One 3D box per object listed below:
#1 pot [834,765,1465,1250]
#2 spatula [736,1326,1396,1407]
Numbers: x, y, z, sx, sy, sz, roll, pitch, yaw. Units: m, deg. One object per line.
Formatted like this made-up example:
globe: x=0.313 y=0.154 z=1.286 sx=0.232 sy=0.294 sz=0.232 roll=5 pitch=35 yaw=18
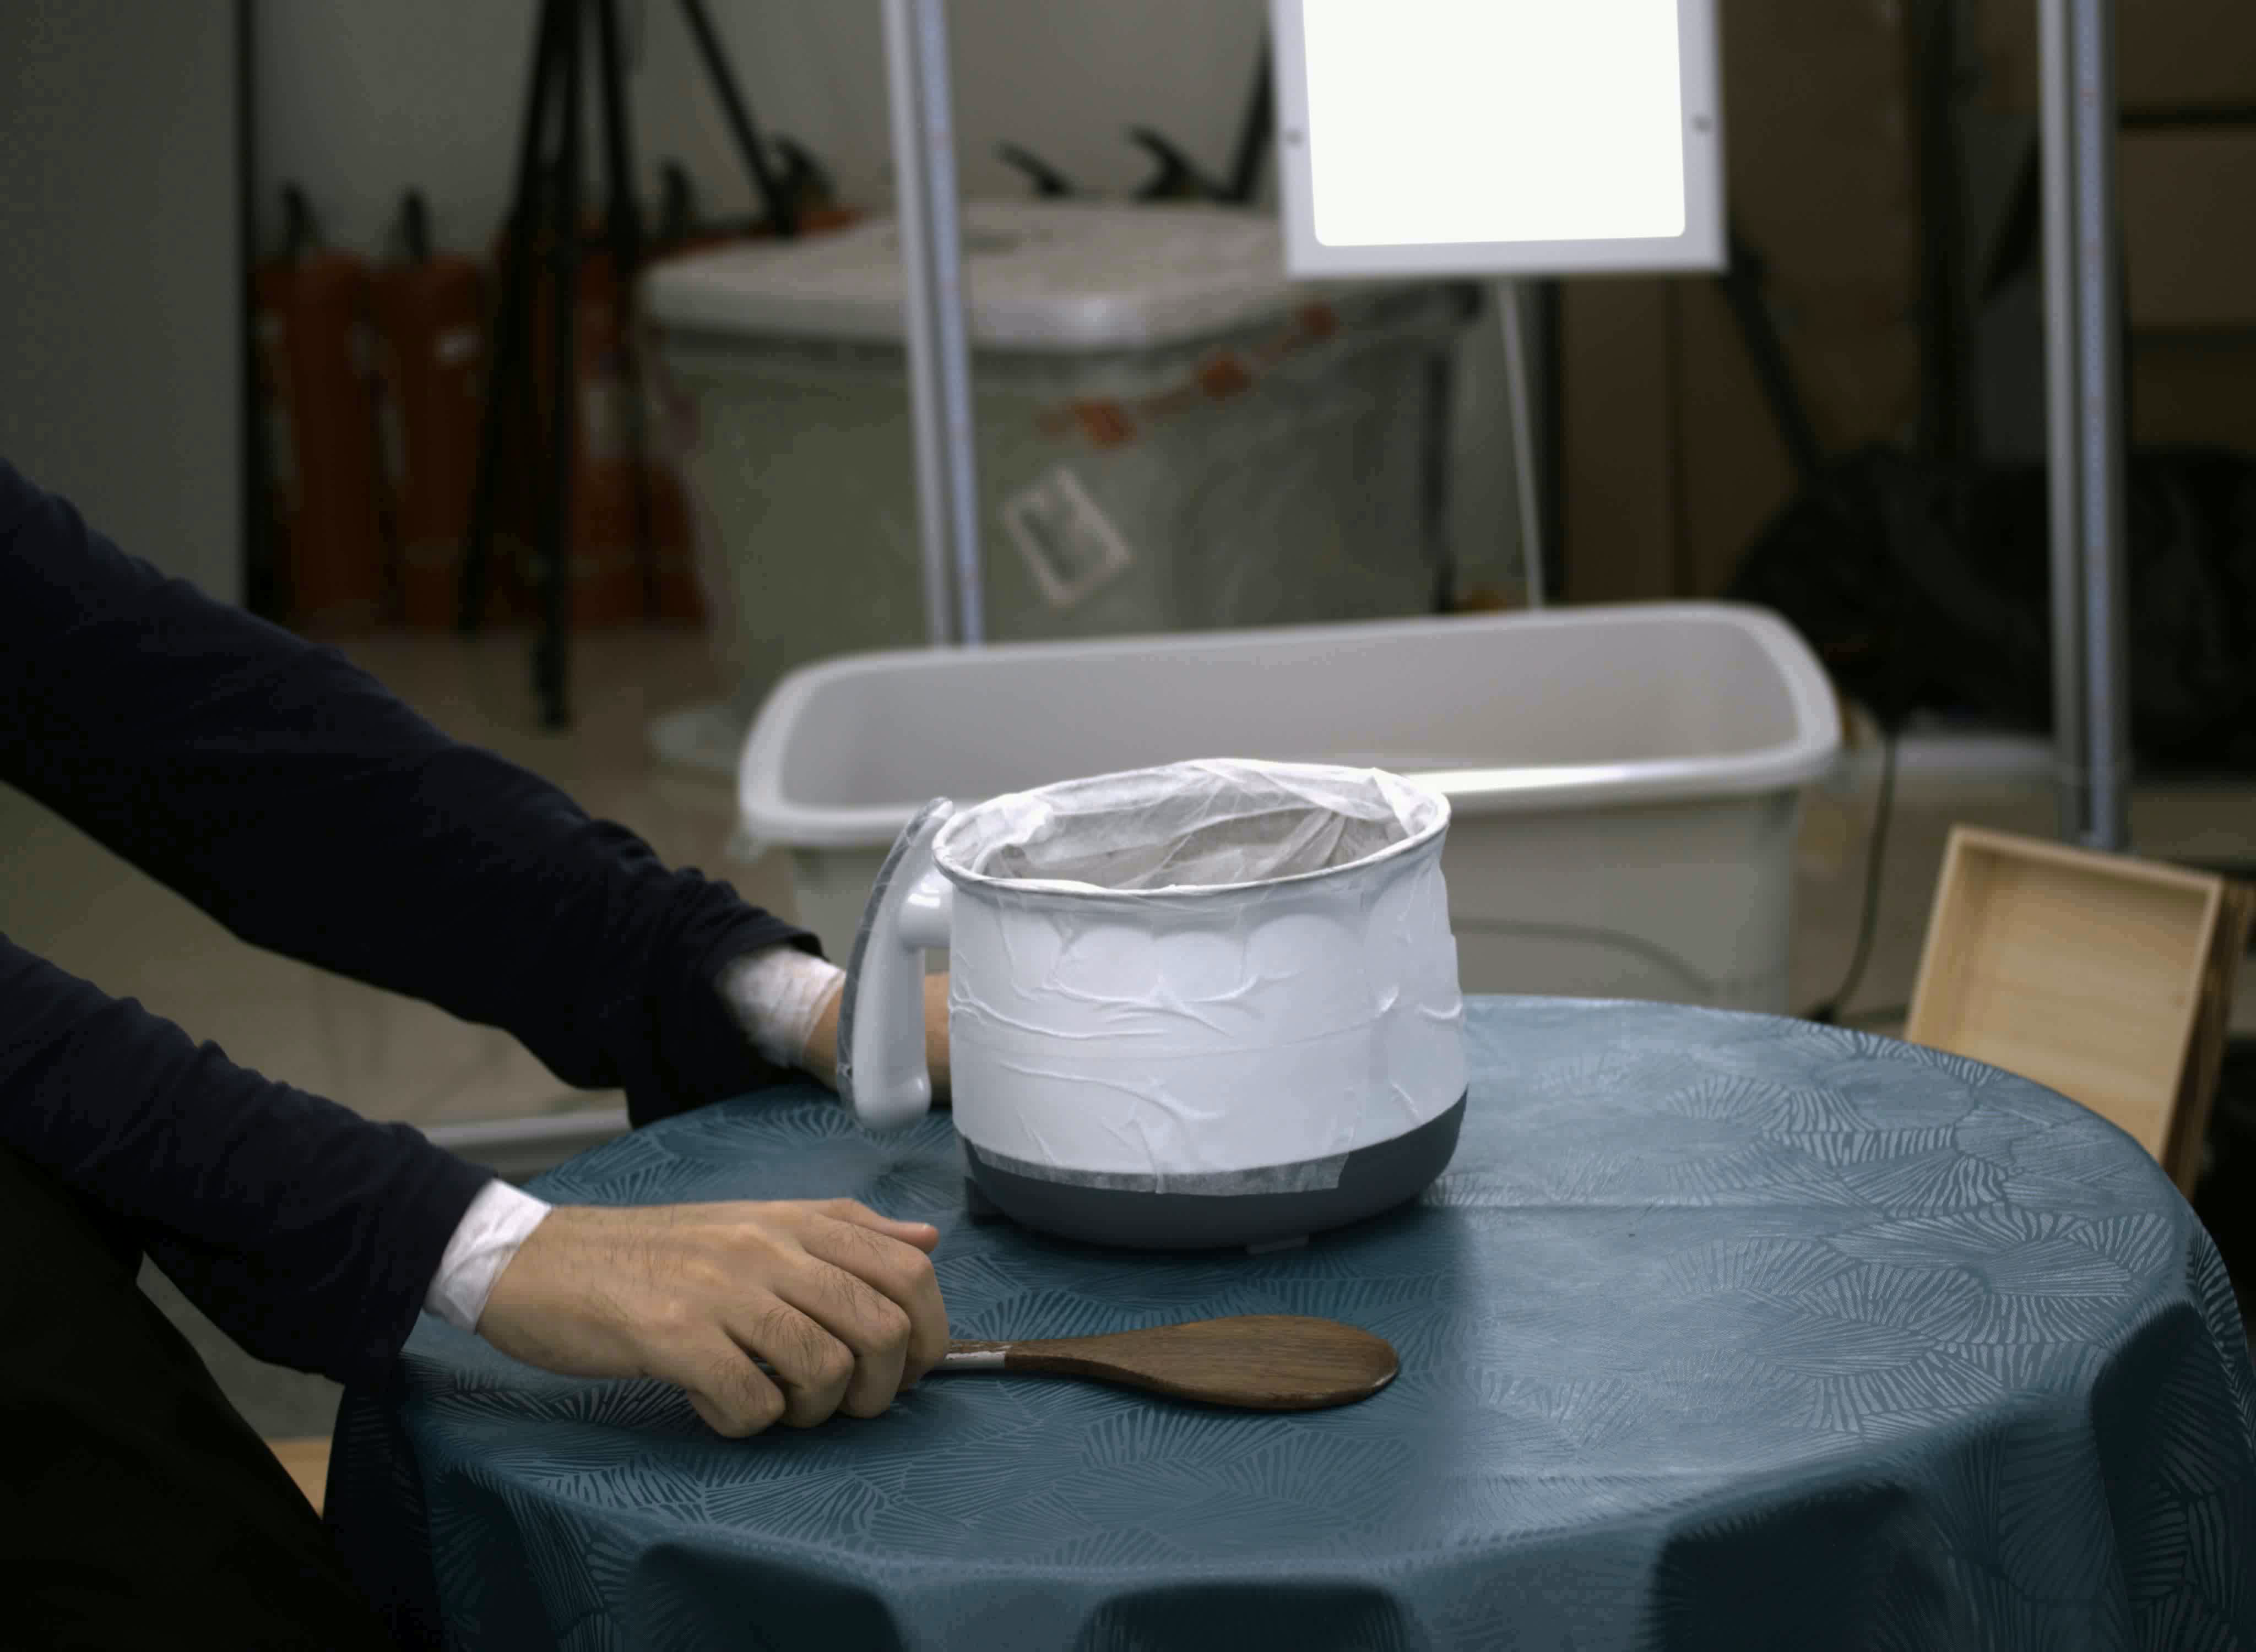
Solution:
pot: x=0.002 y=0.058 z=1.888 sx=0.238 sy=0.137 sz=0.175 roll=4 pitch=14 yaw=28
spatula: x=-0.021 y=0.169 z=1.726 sx=0.218 sy=0.009 sz=0.070 roll=-1 pitch=12 yaw=20
